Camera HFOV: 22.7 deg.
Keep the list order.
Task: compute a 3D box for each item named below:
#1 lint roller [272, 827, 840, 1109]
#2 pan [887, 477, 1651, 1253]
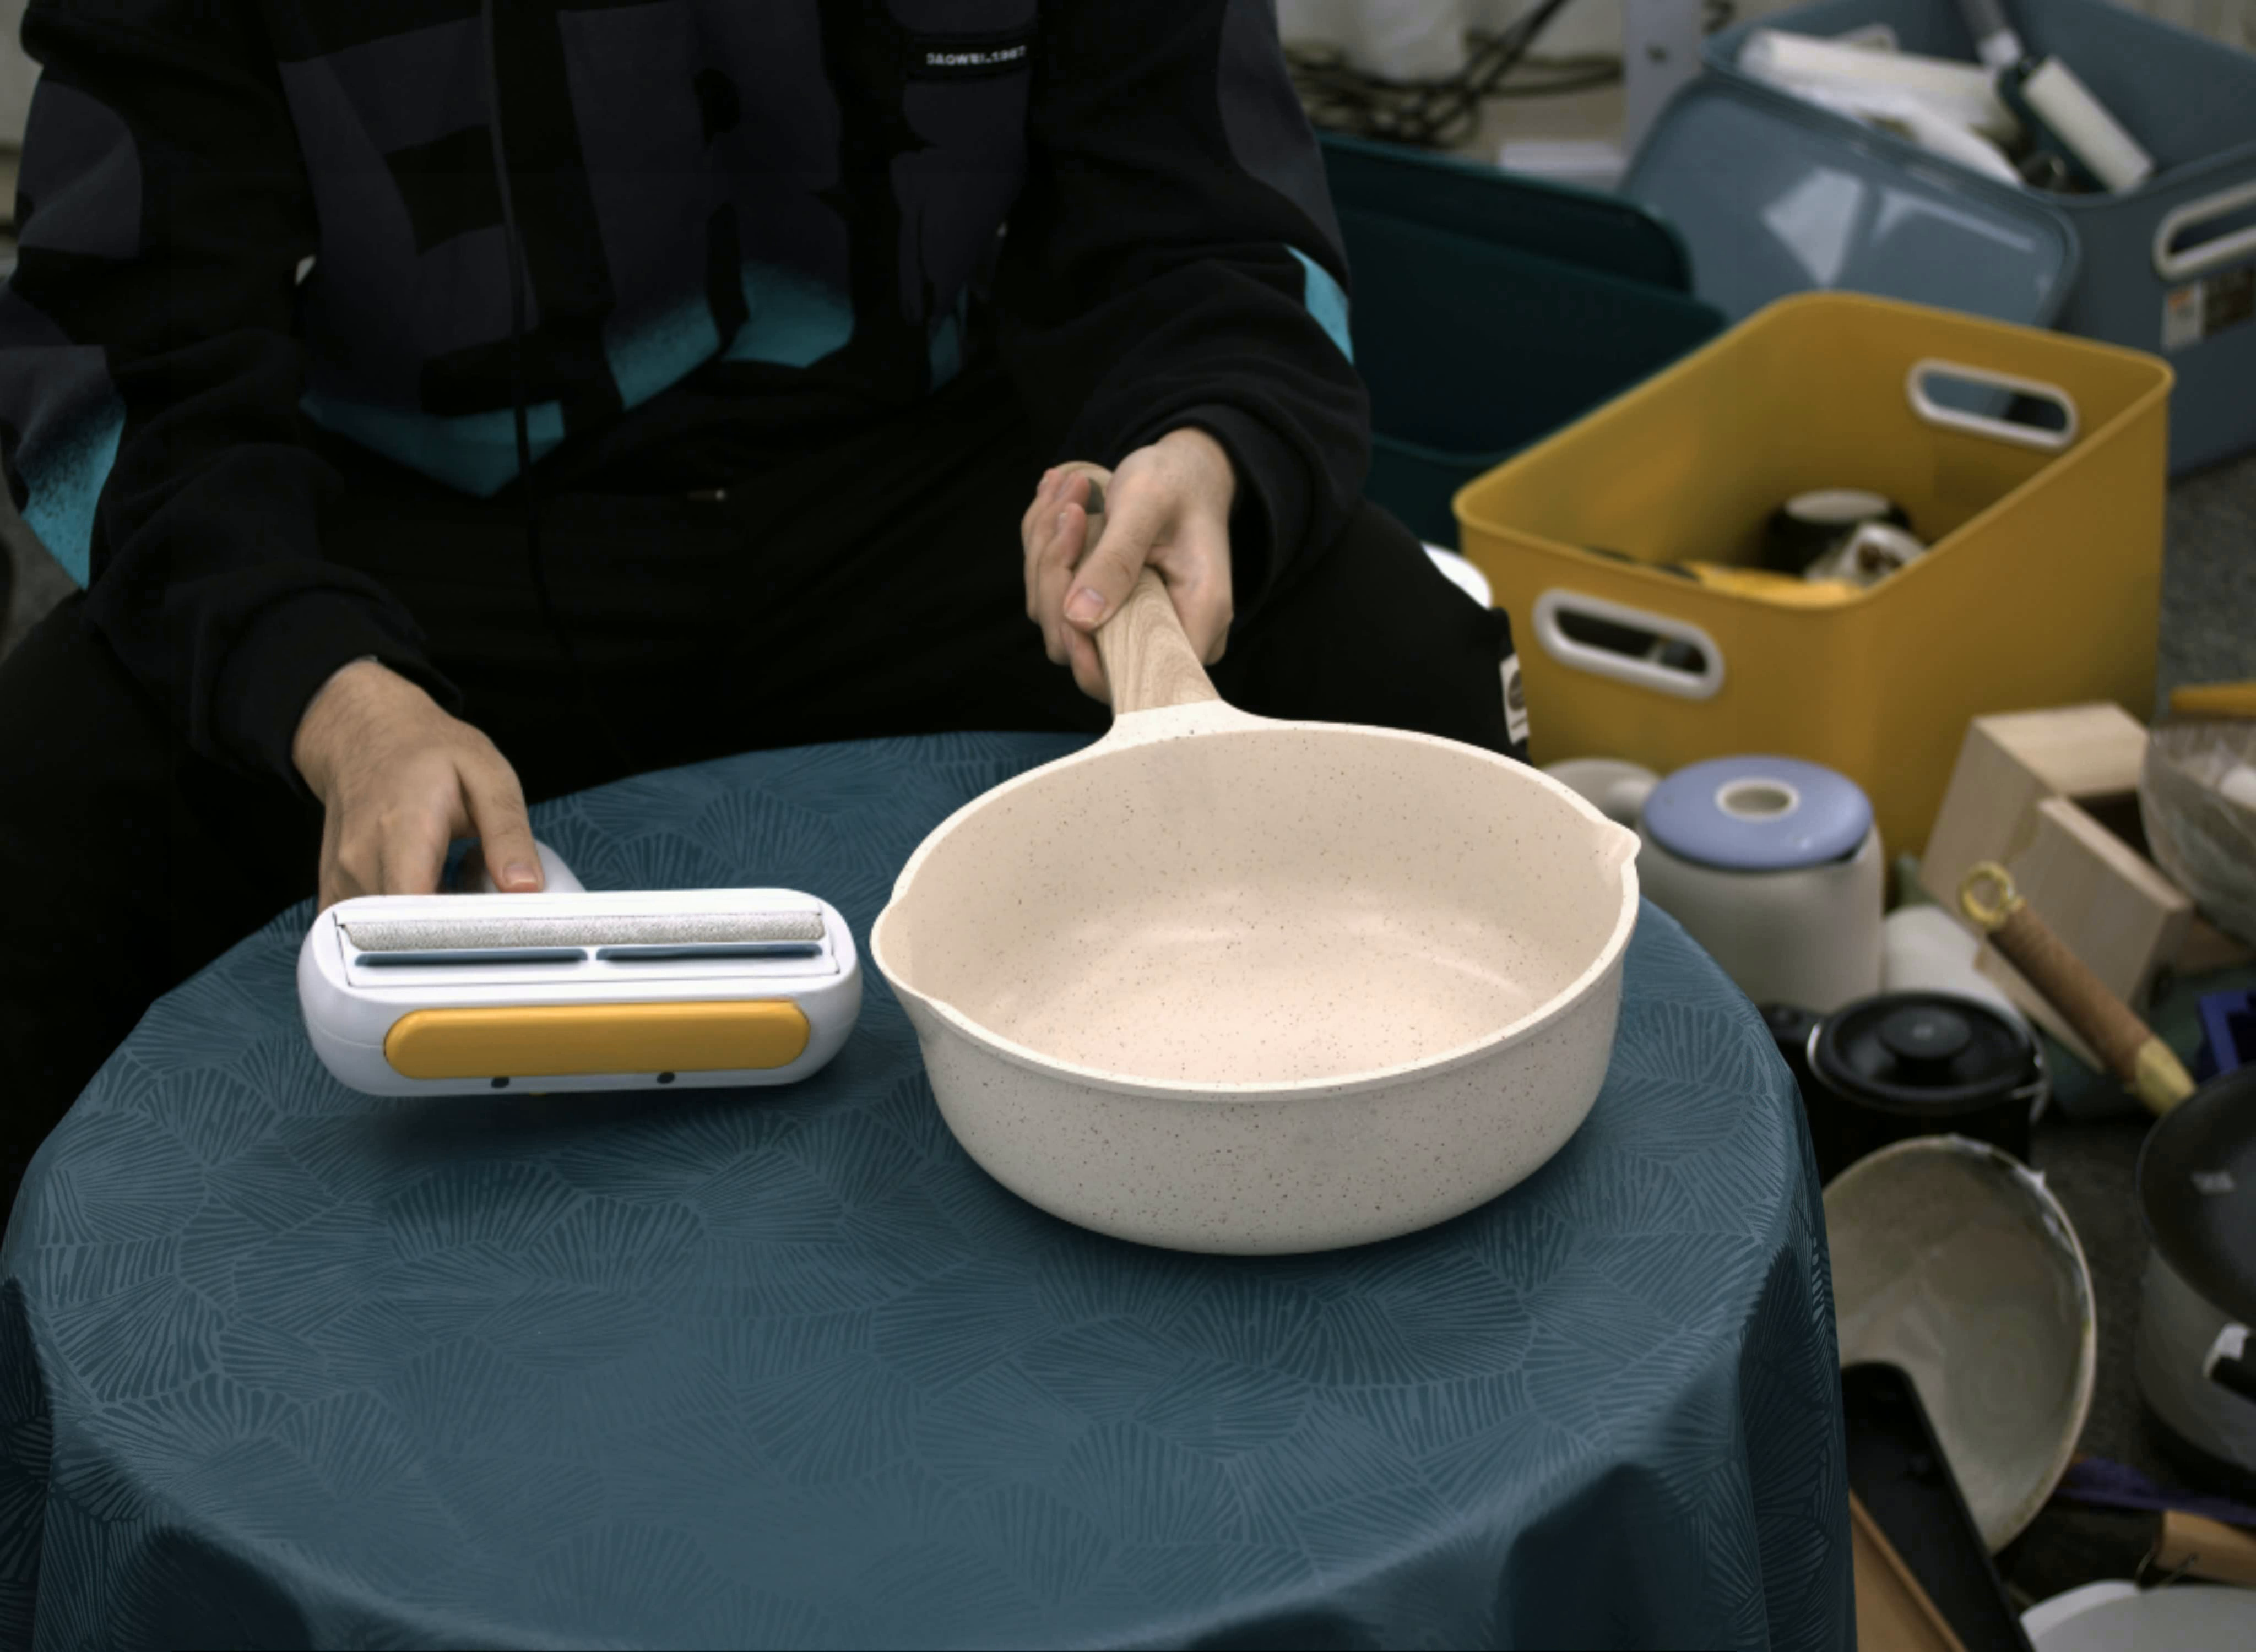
[{"bbox_3d":[-0.206,0.037,1.965,0.192,0.073,0.195,-3,28,-12],"label":"lint roller"},{"bbox_3d":[0.030,0.009,1.967,0.263,0.101,0.440,-11,29,-9],"label":"pan"}]
